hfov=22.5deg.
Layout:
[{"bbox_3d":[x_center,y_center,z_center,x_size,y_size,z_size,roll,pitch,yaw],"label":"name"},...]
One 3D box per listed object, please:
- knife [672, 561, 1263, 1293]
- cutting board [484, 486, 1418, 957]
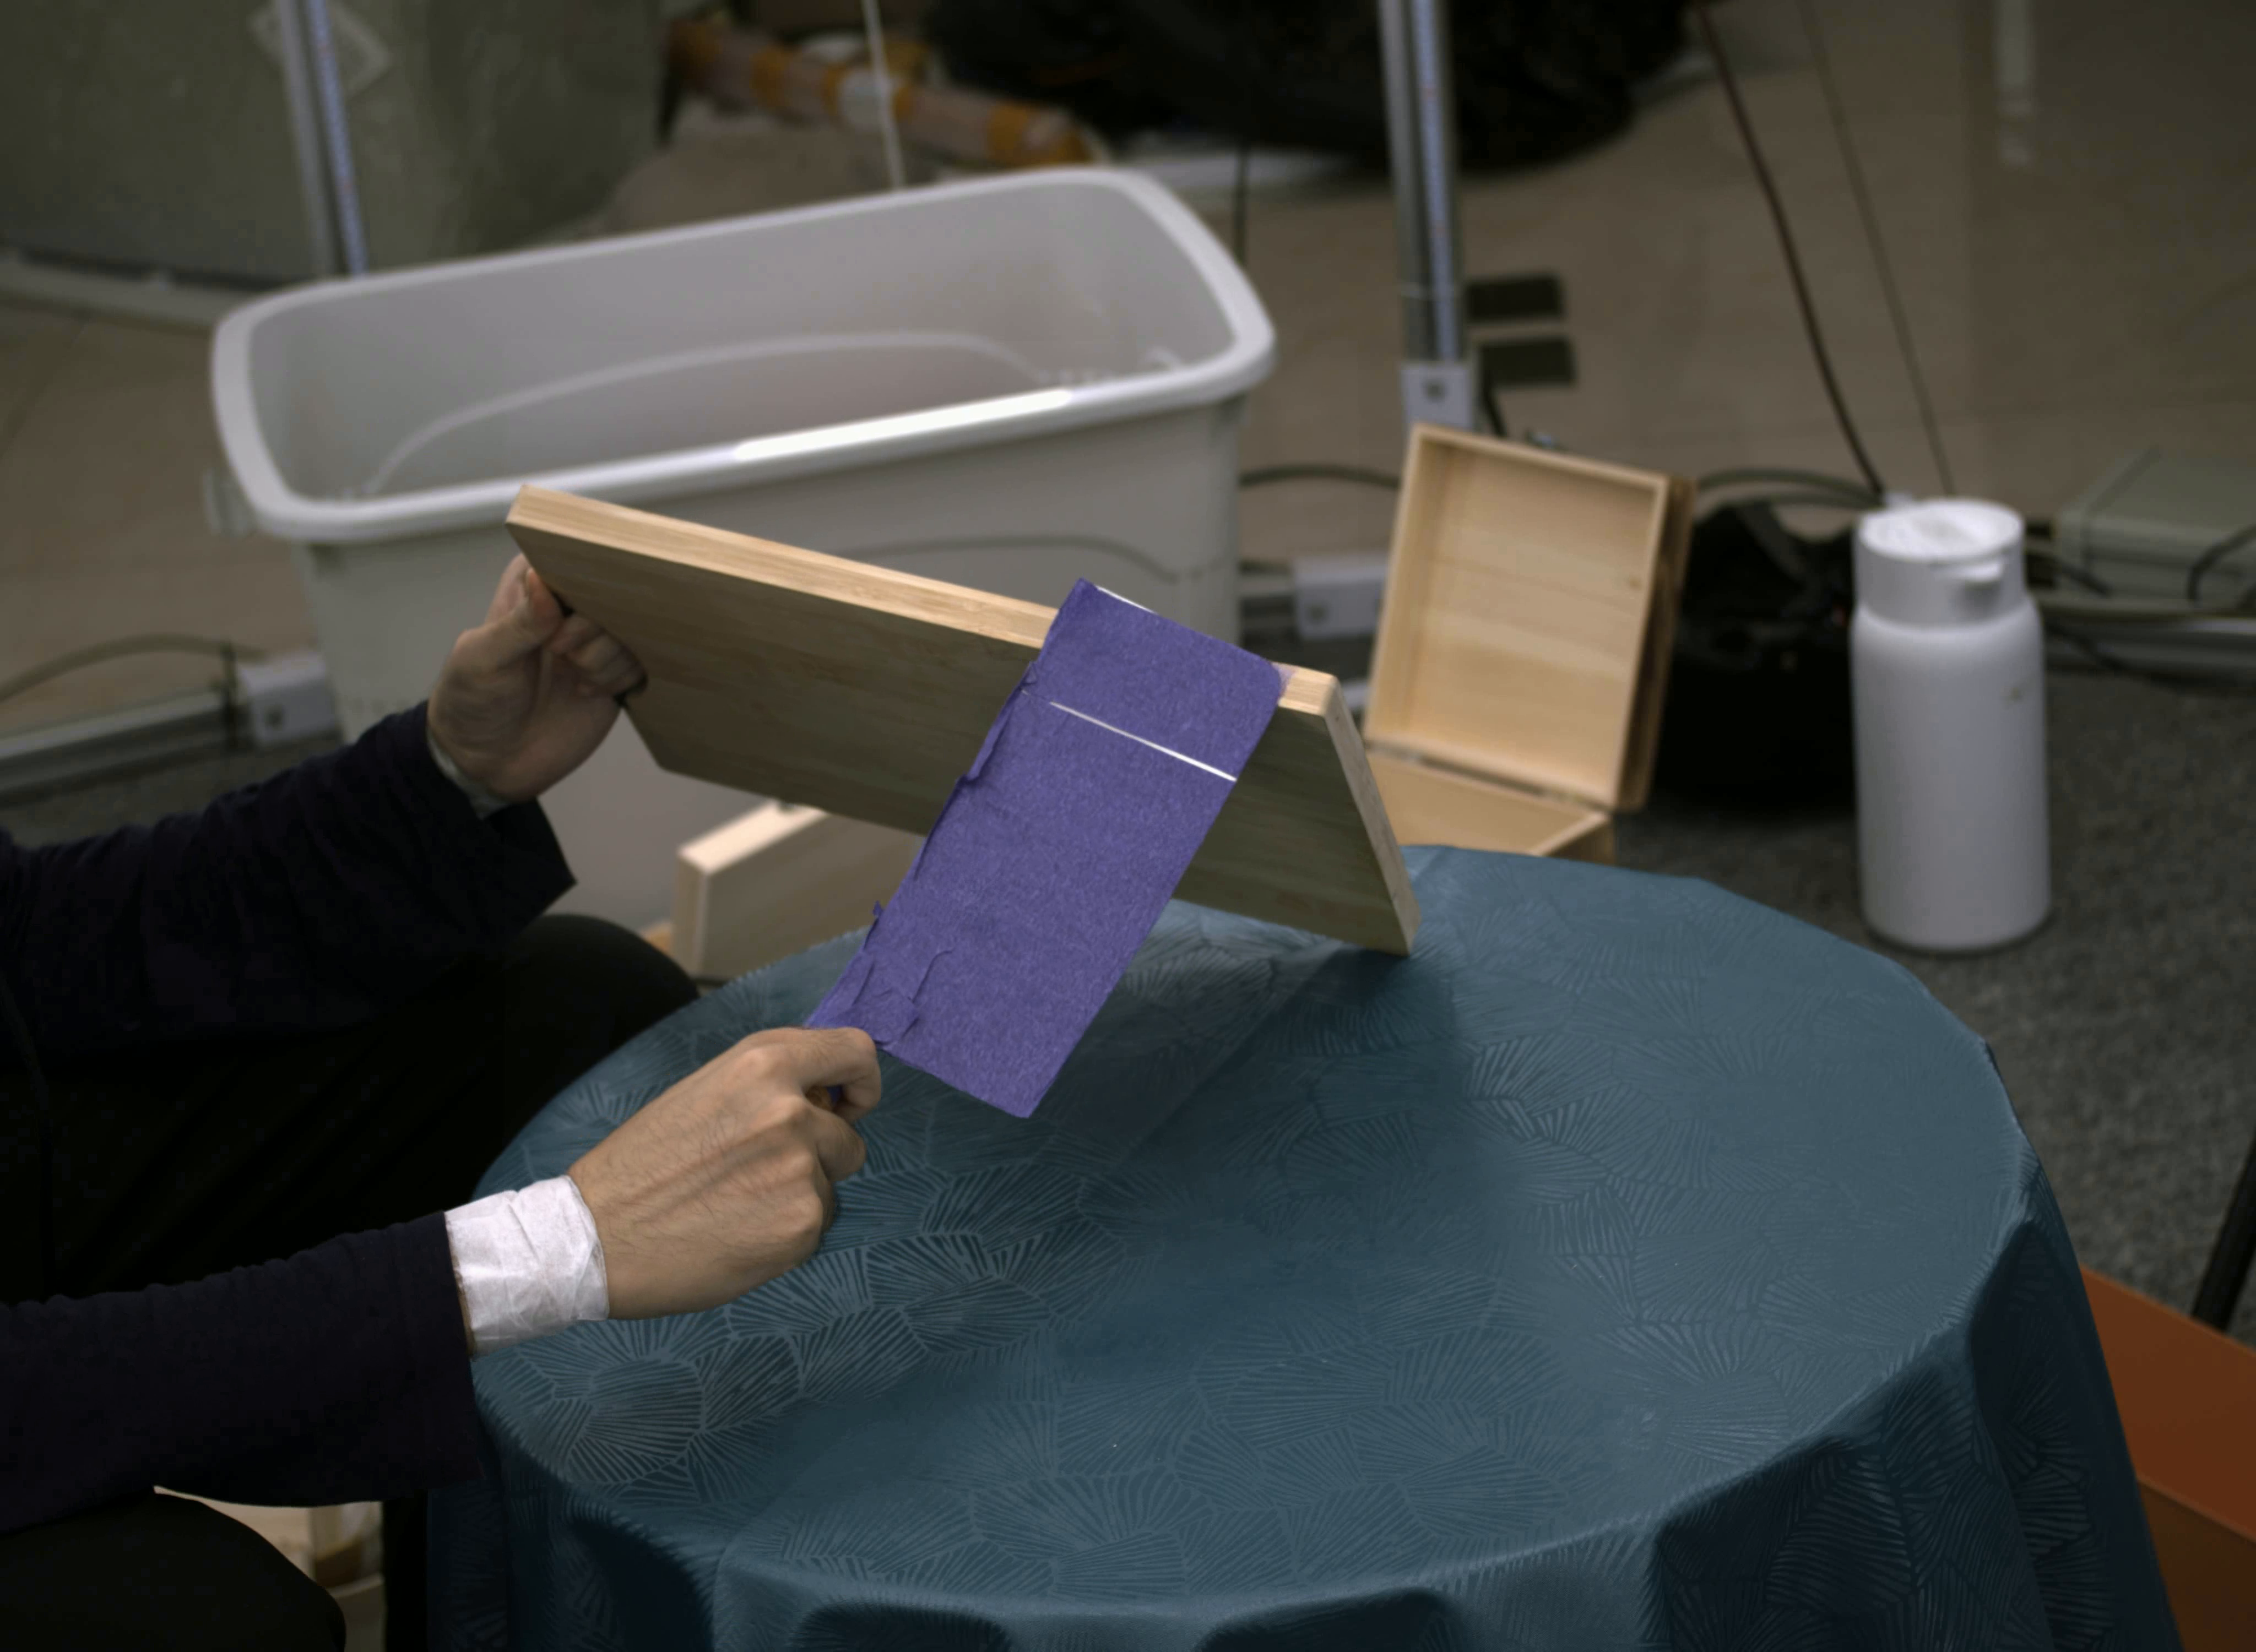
[{"bbox_3d":[-0.052,0.043,2.051,0.103,0.032,0.312,24,70,15],"label":"knife"},{"bbox_3d":[-0.066,-0.041,2.252,0.347,0.254,0.023,14,70,16],"label":"cutting board"}]
